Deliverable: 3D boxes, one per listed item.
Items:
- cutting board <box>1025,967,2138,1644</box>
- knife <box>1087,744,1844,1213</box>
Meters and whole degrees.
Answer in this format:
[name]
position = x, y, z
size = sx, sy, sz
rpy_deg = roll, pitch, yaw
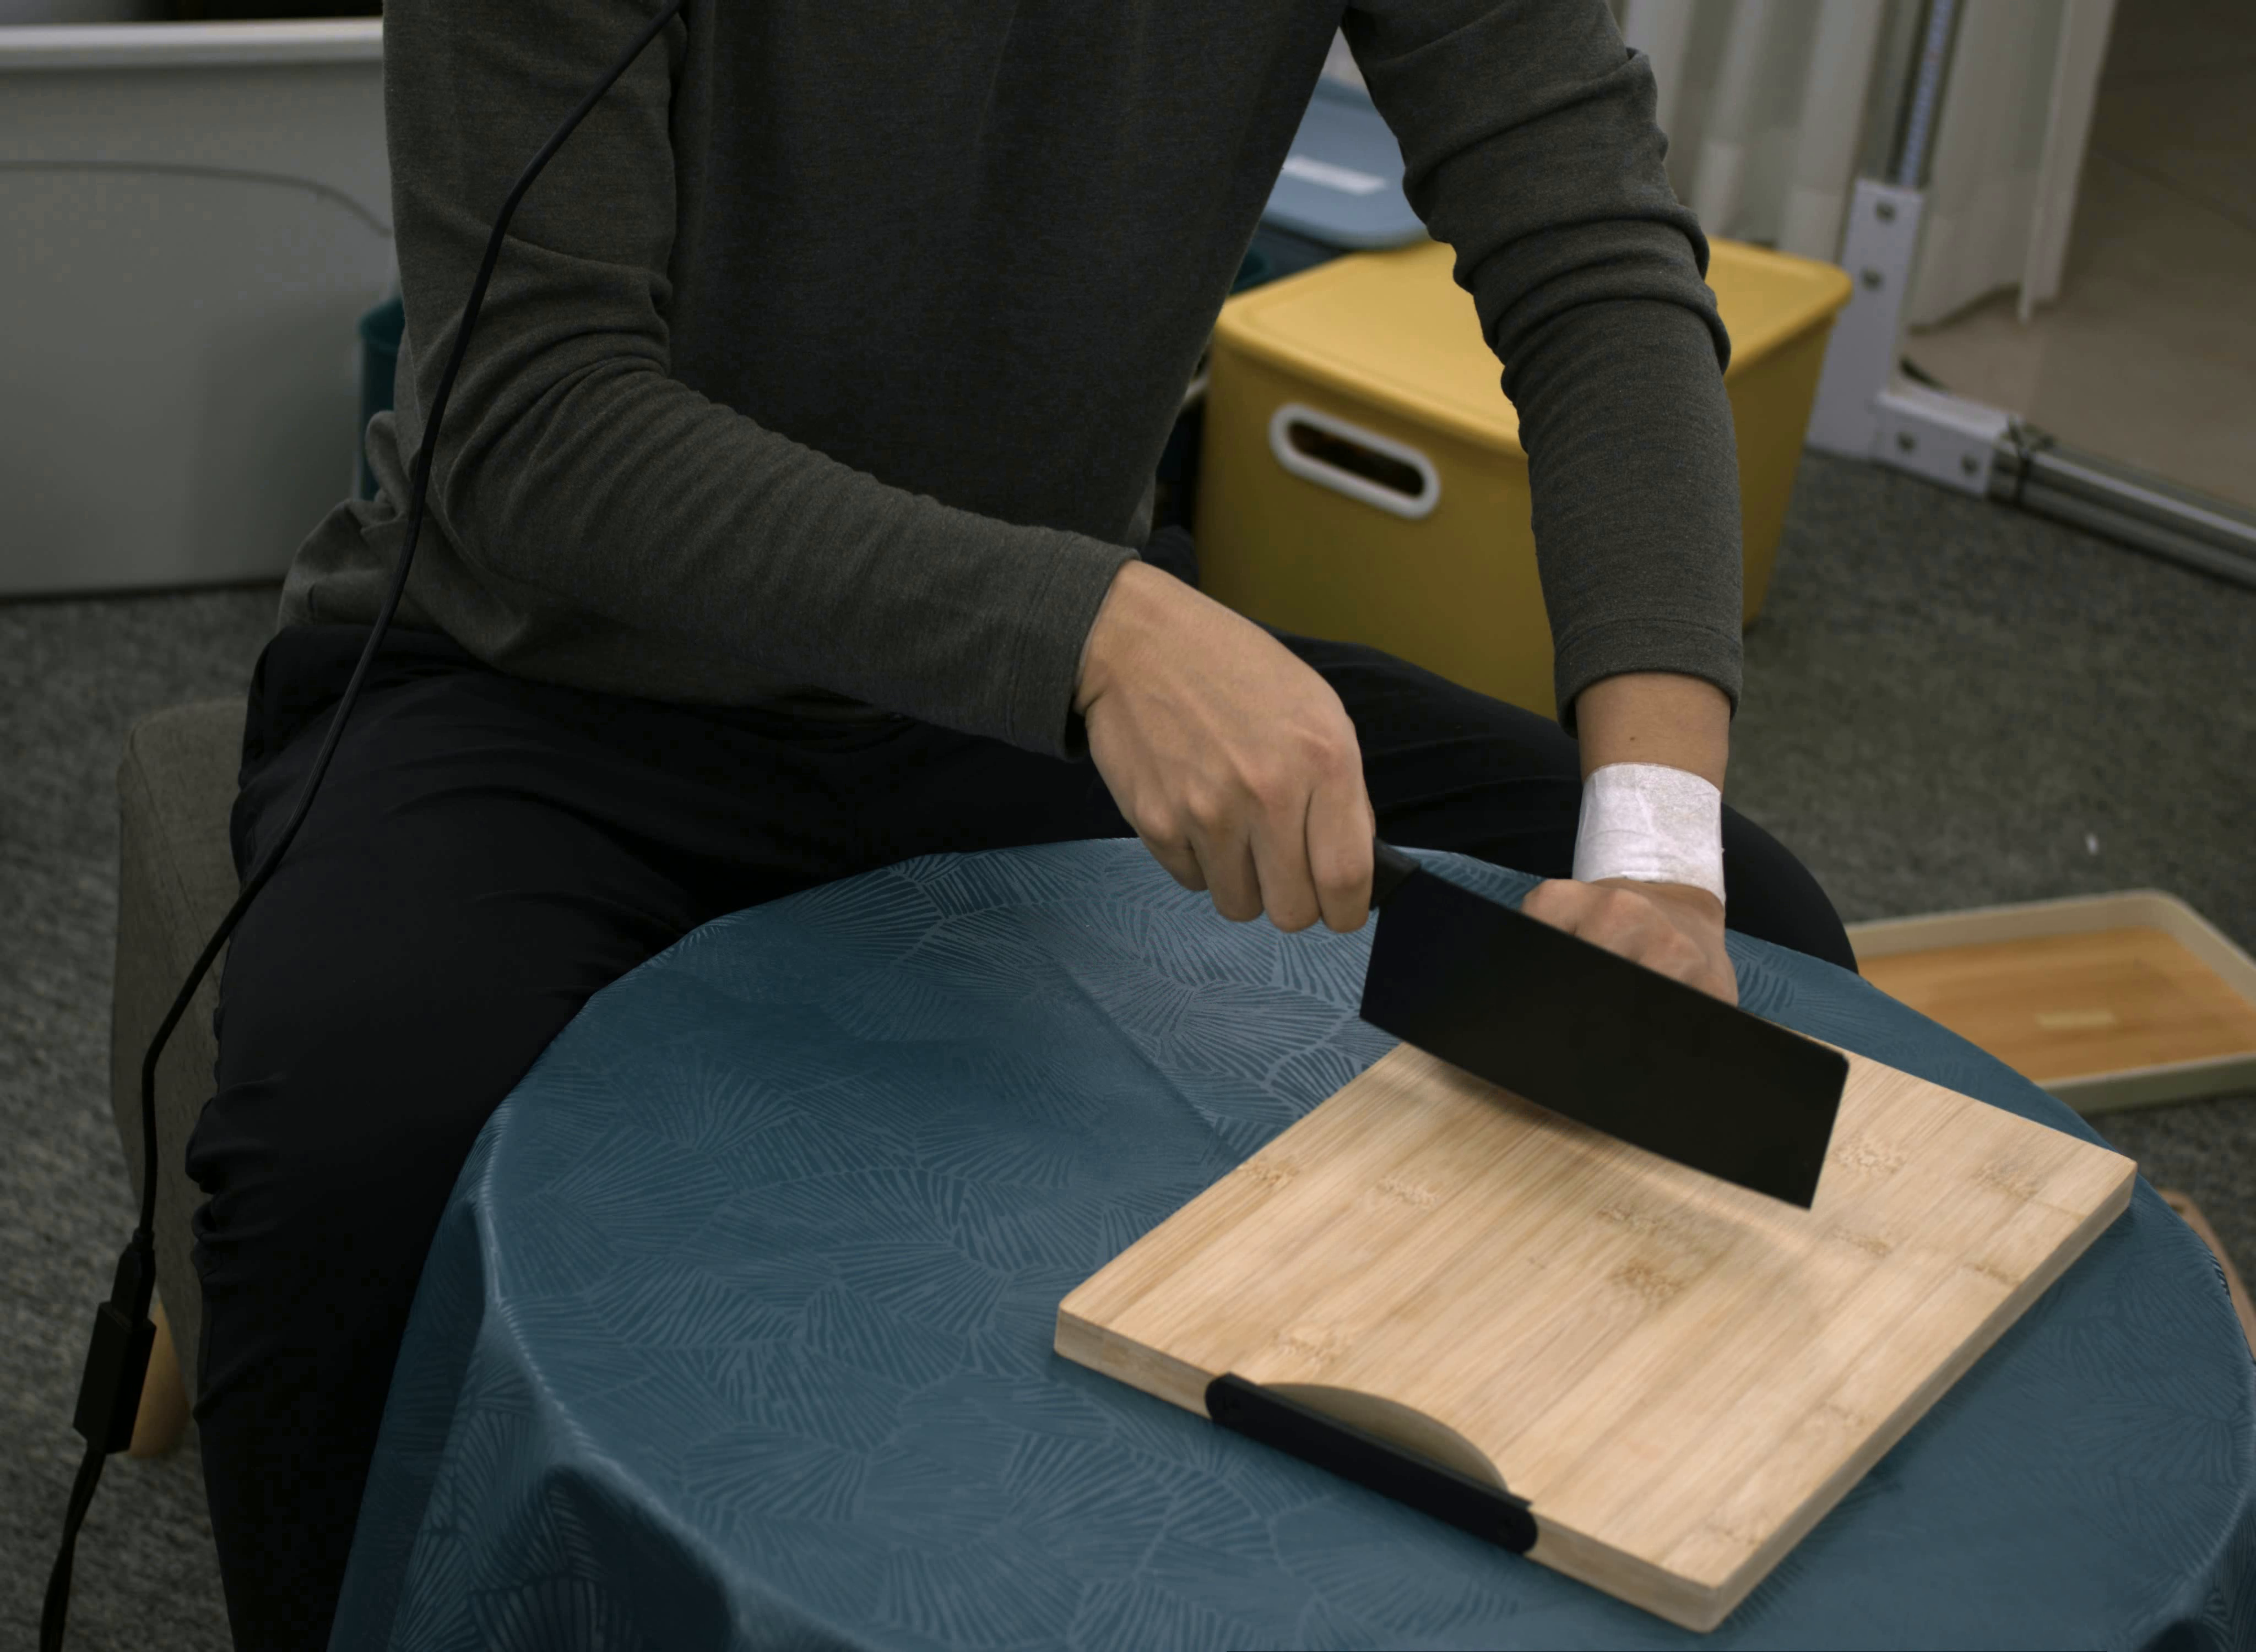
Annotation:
[cutting board]
position = 0.161, 0.145, 1.782
size = 0.252, 0.023, 0.348
rpy_deg = 20, 29, 26
[knife]
position = 0.111, 0.047, 1.834
size = 0.304, 0.081, 0.021
rpy_deg = 29, 30, 25
